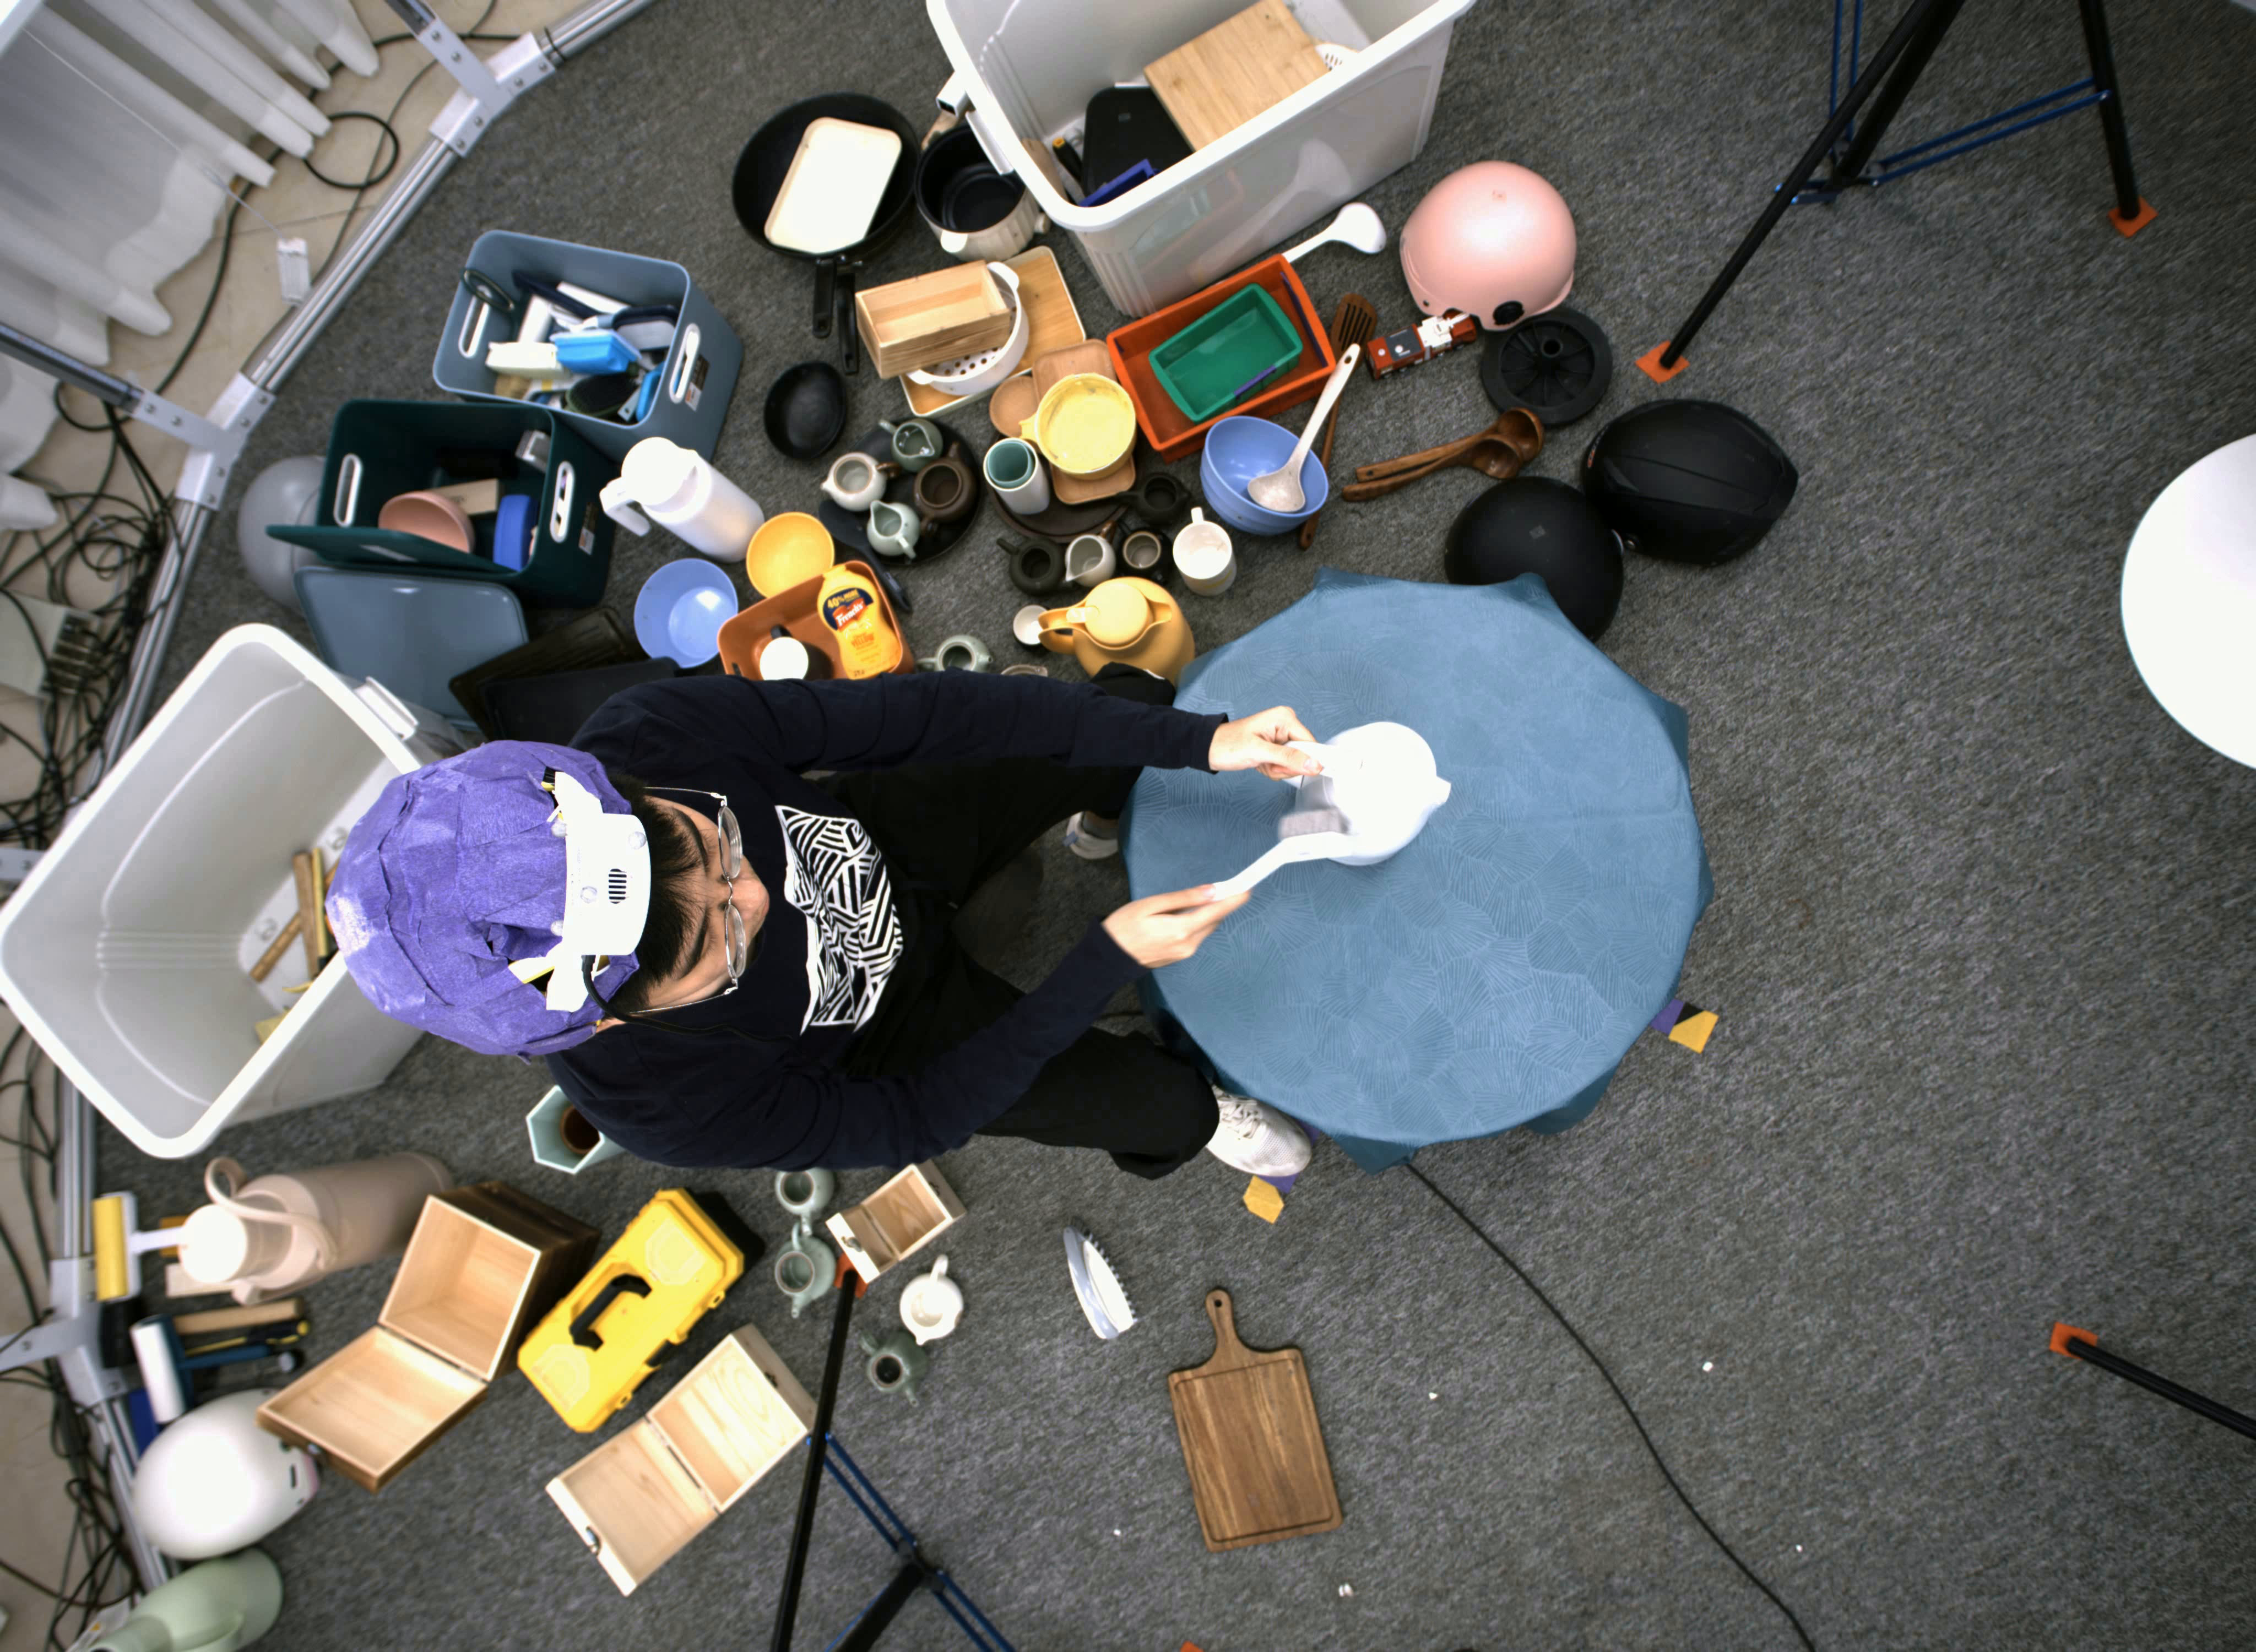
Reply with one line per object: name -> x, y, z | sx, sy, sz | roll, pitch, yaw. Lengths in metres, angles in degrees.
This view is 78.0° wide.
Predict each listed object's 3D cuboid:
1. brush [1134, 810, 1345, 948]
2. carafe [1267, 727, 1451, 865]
brush -> 0.101, 0.048, 1.328 | 0.247, 0.034, 0.049 | -29, 63, 26
carafe -> 0.217, -0.039, 1.340 | 0.168, 0.249, 0.132 | 15, 88, 5
